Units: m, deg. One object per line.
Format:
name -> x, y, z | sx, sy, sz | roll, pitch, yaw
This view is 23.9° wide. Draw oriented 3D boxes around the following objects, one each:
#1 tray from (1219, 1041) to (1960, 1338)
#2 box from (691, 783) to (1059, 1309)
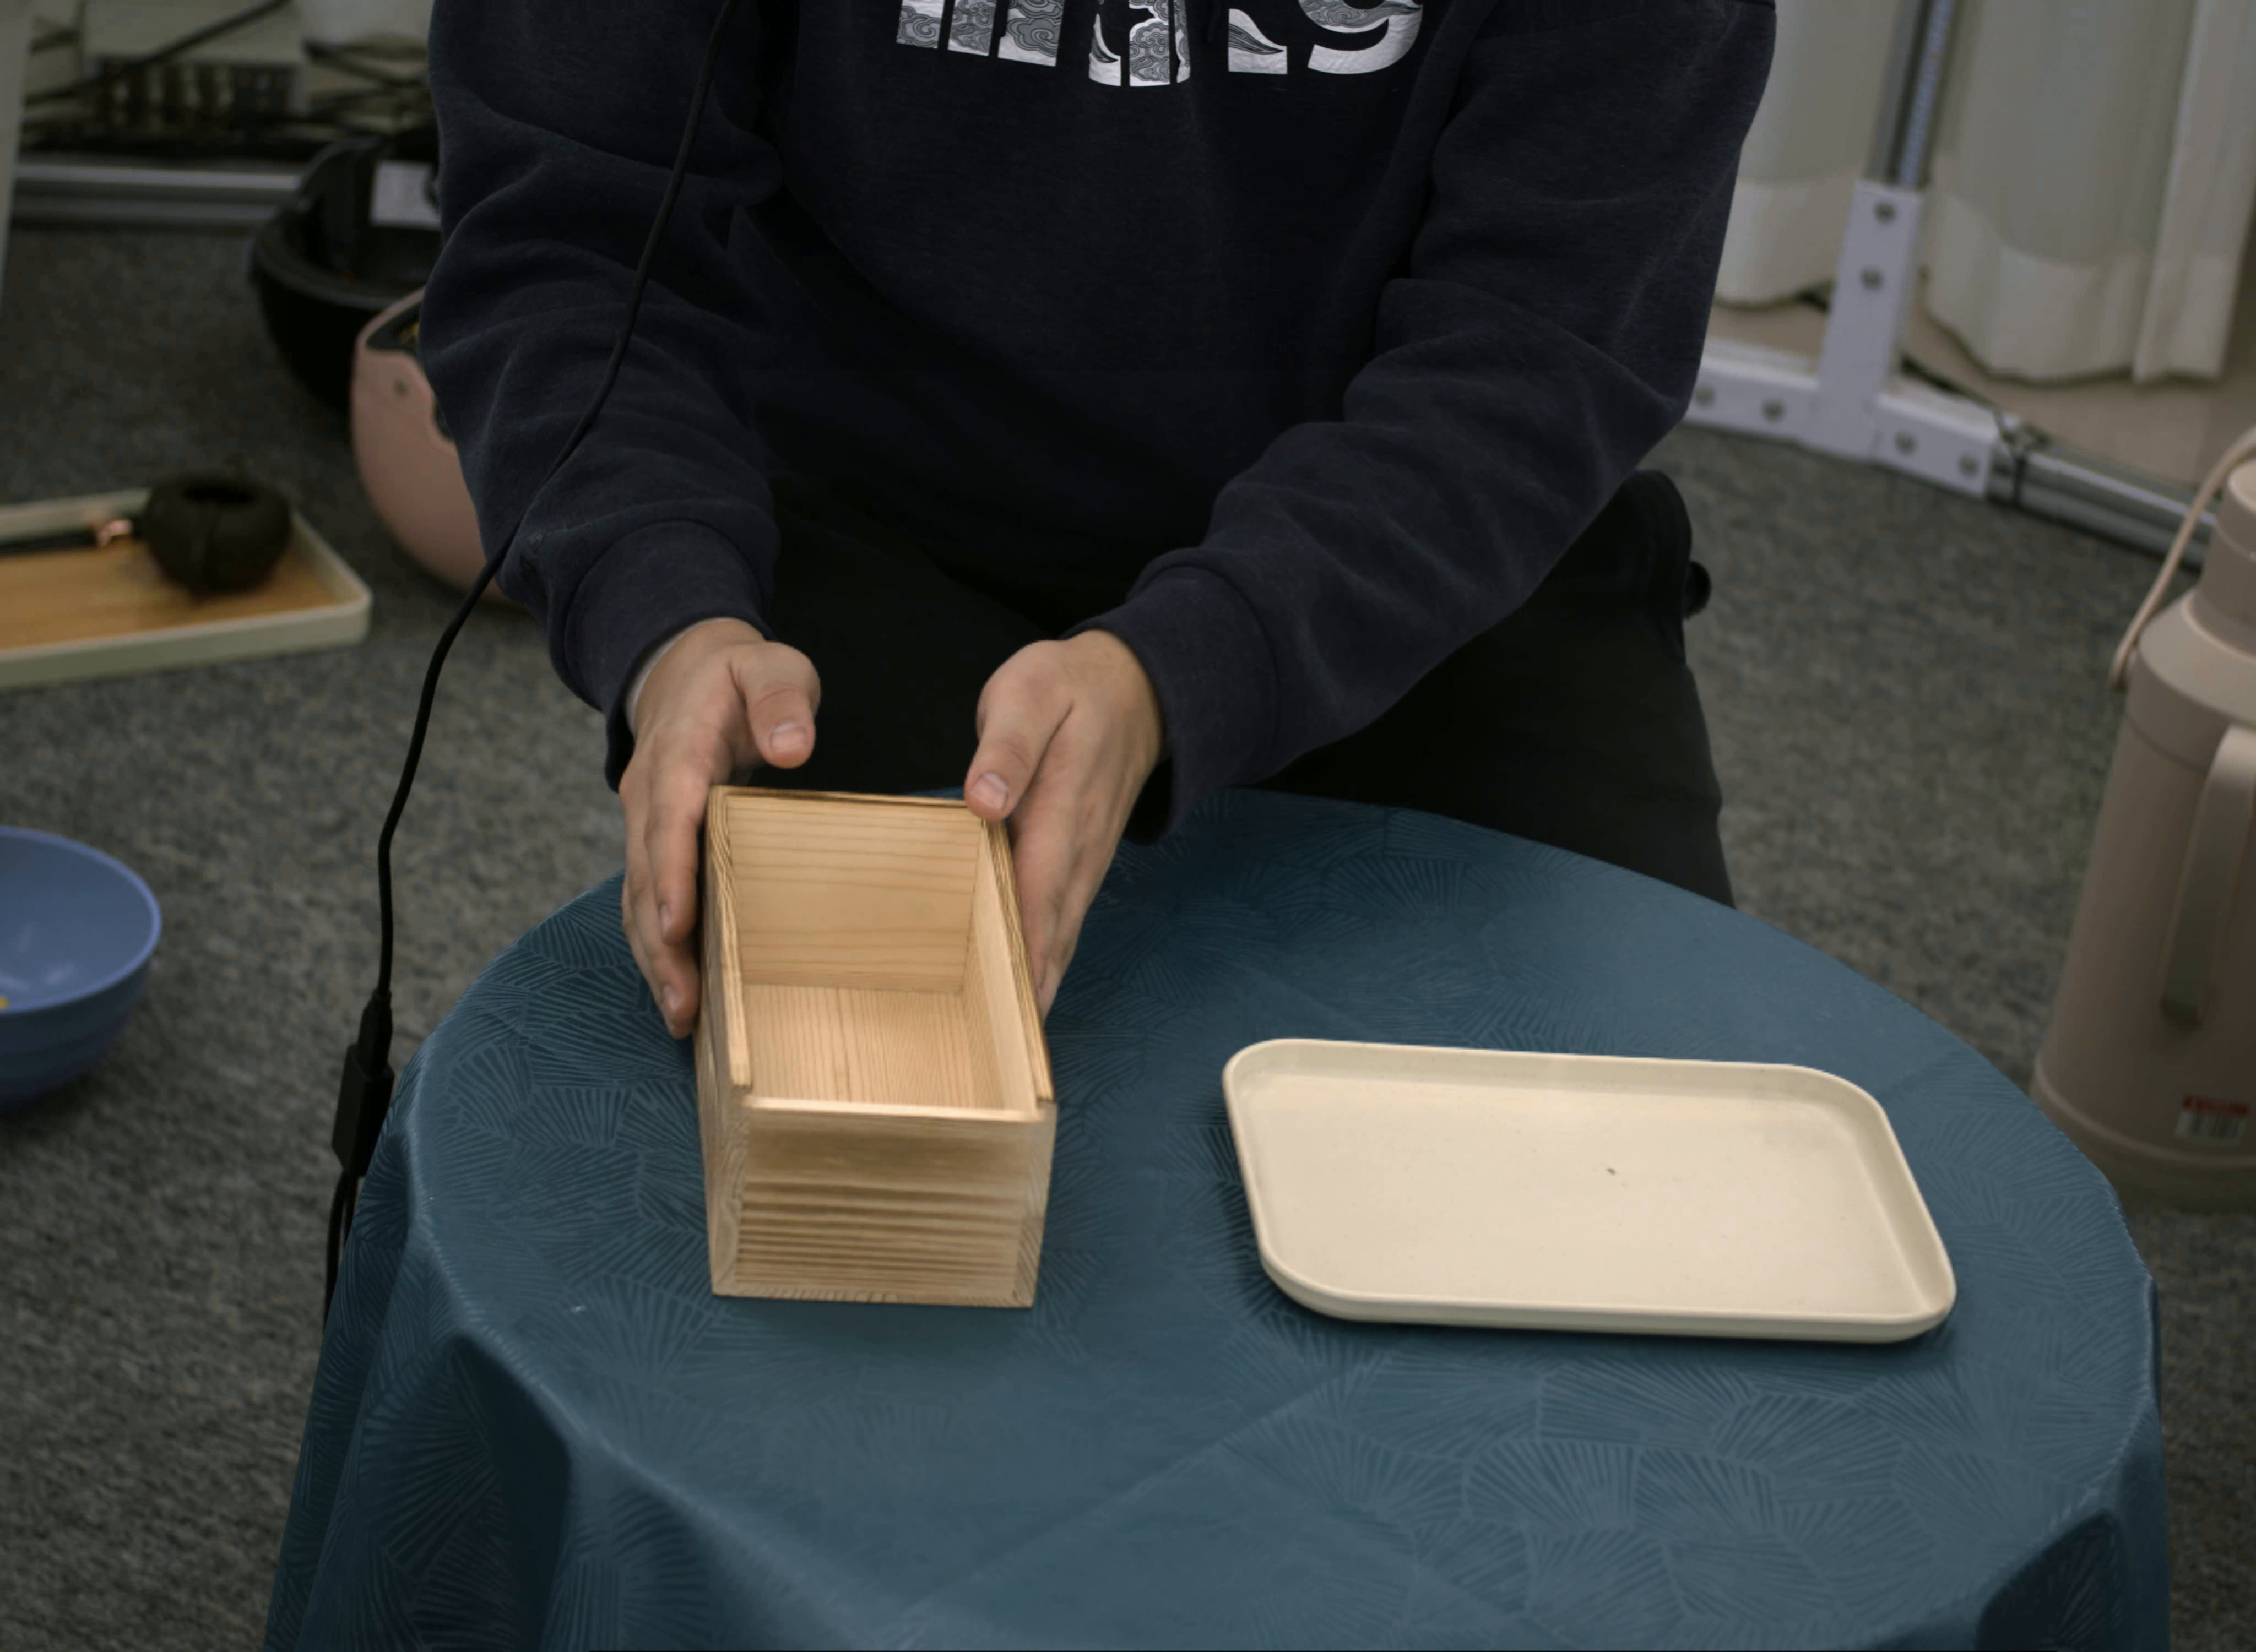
tray -> 0.155, 0.125, 1.820 | 0.238, 0.017, 0.172 | 3, 26, -8
box -> -0.089, 0.071, 1.800 | 0.107, 0.080, 0.213 | 3, 27, -9
